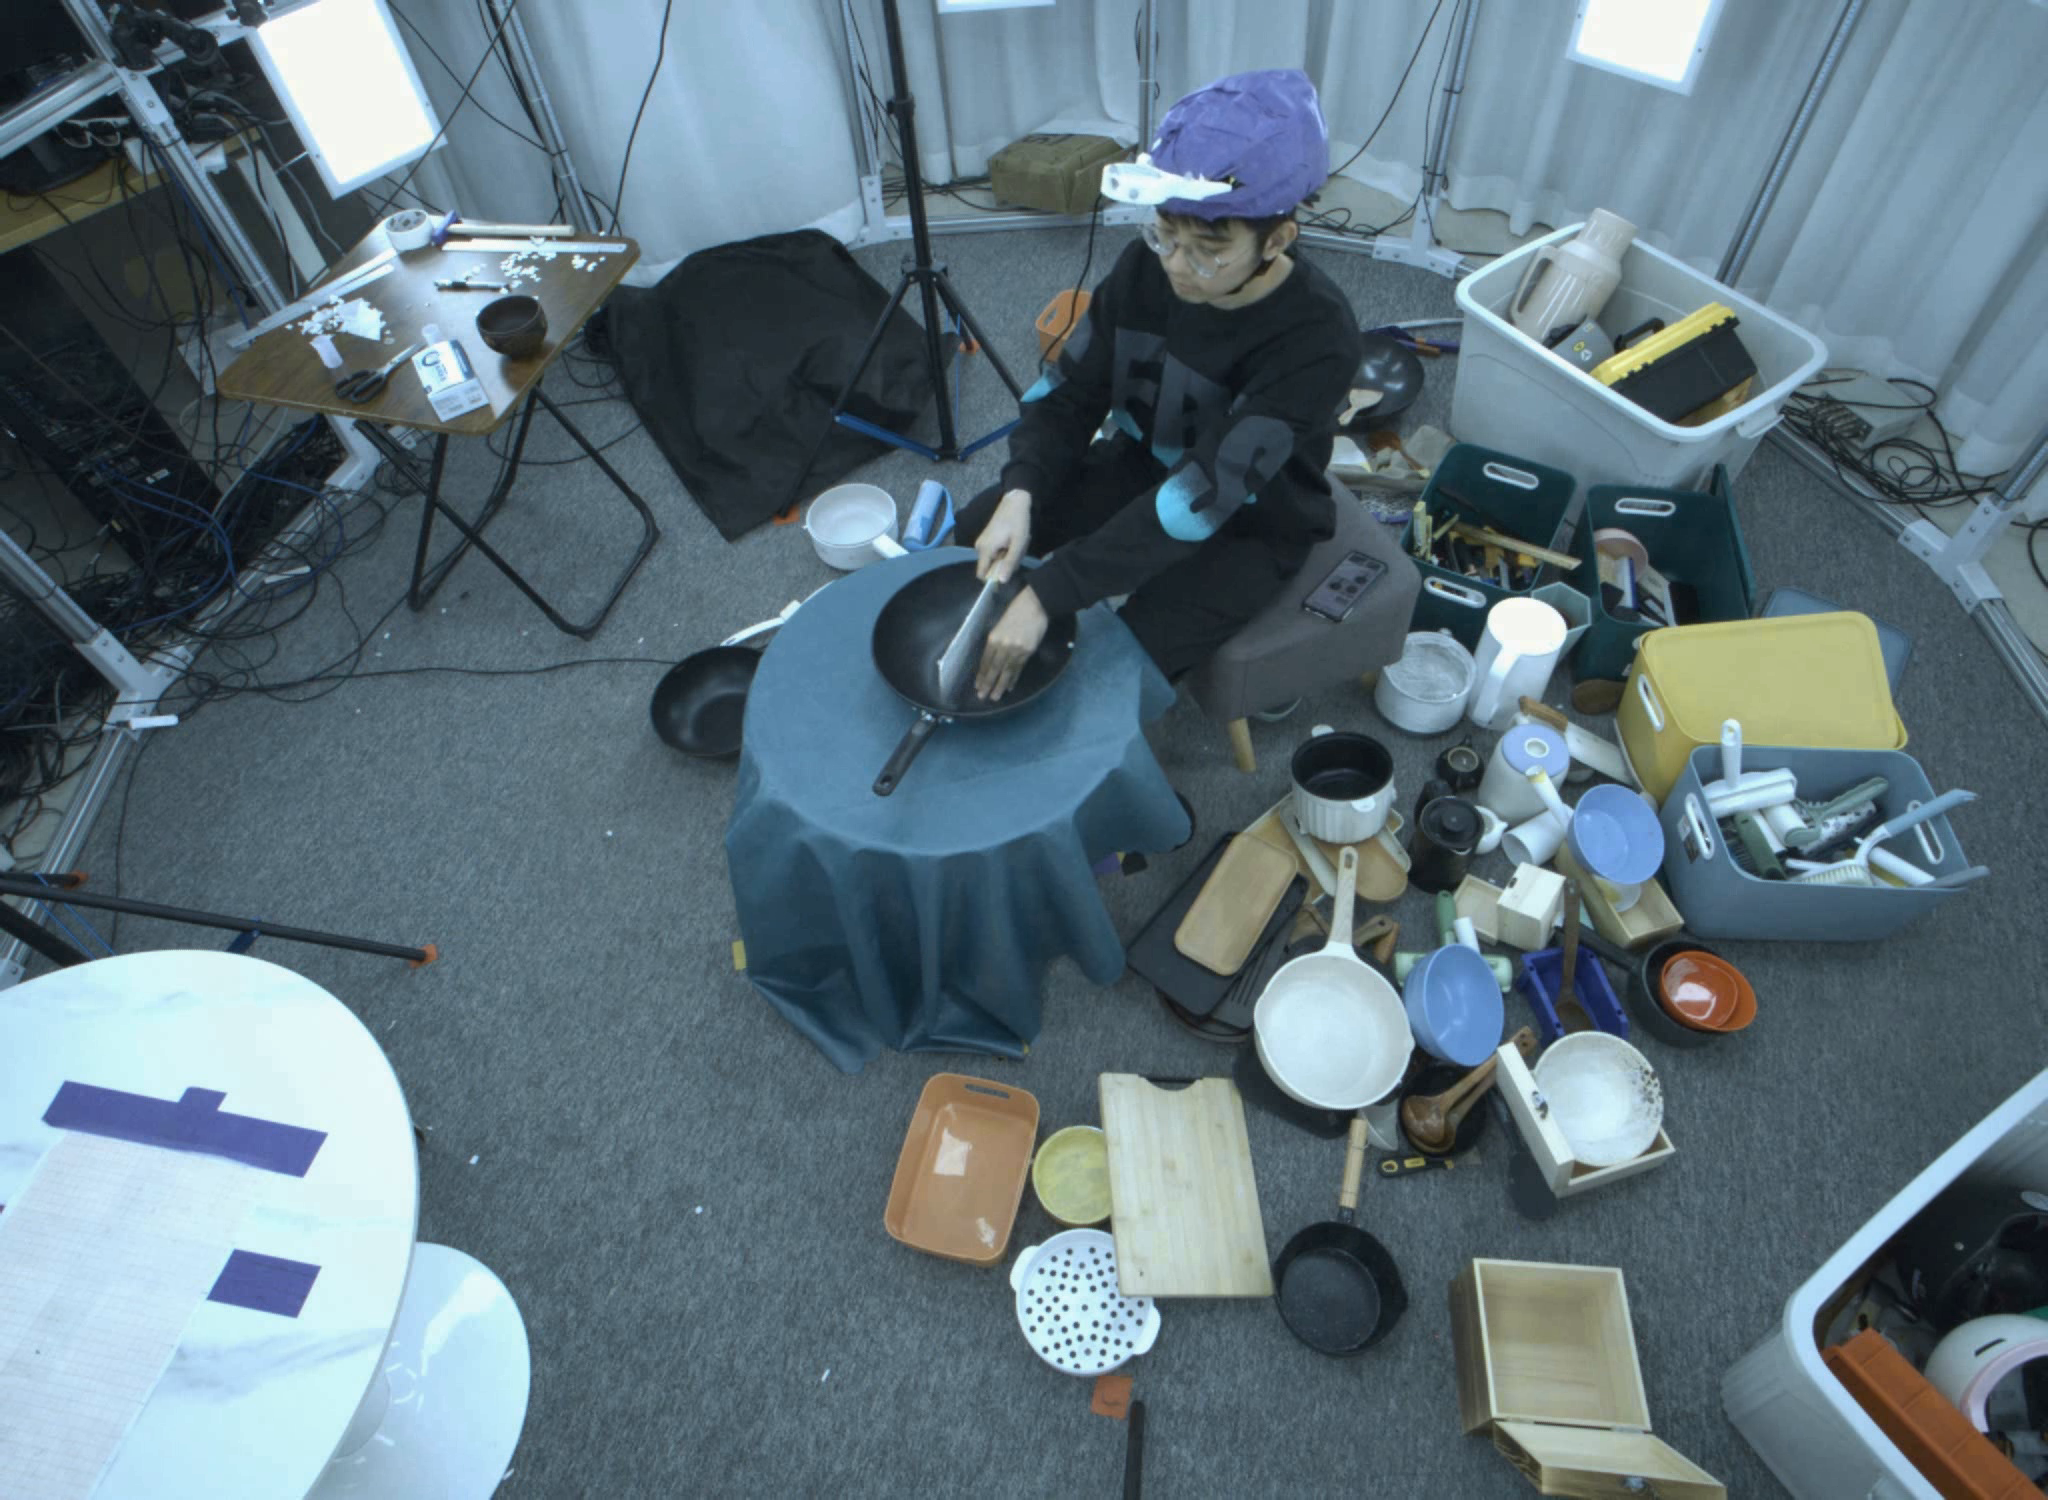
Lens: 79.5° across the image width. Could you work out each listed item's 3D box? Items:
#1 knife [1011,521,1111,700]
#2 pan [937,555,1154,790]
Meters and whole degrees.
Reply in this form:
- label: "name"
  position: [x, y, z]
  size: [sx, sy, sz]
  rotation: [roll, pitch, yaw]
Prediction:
- label: "knife"
  position: [0.053, -0.216, 1.829]
  size: [0.021, 0.115, 0.315]
  rotation: [24, 69, 14]
- label: "pan"
  position: [0.002, -0.098, 1.791]
  size: [0.306, 0.113, 0.477]
  rotation: [19, 58, 17]
